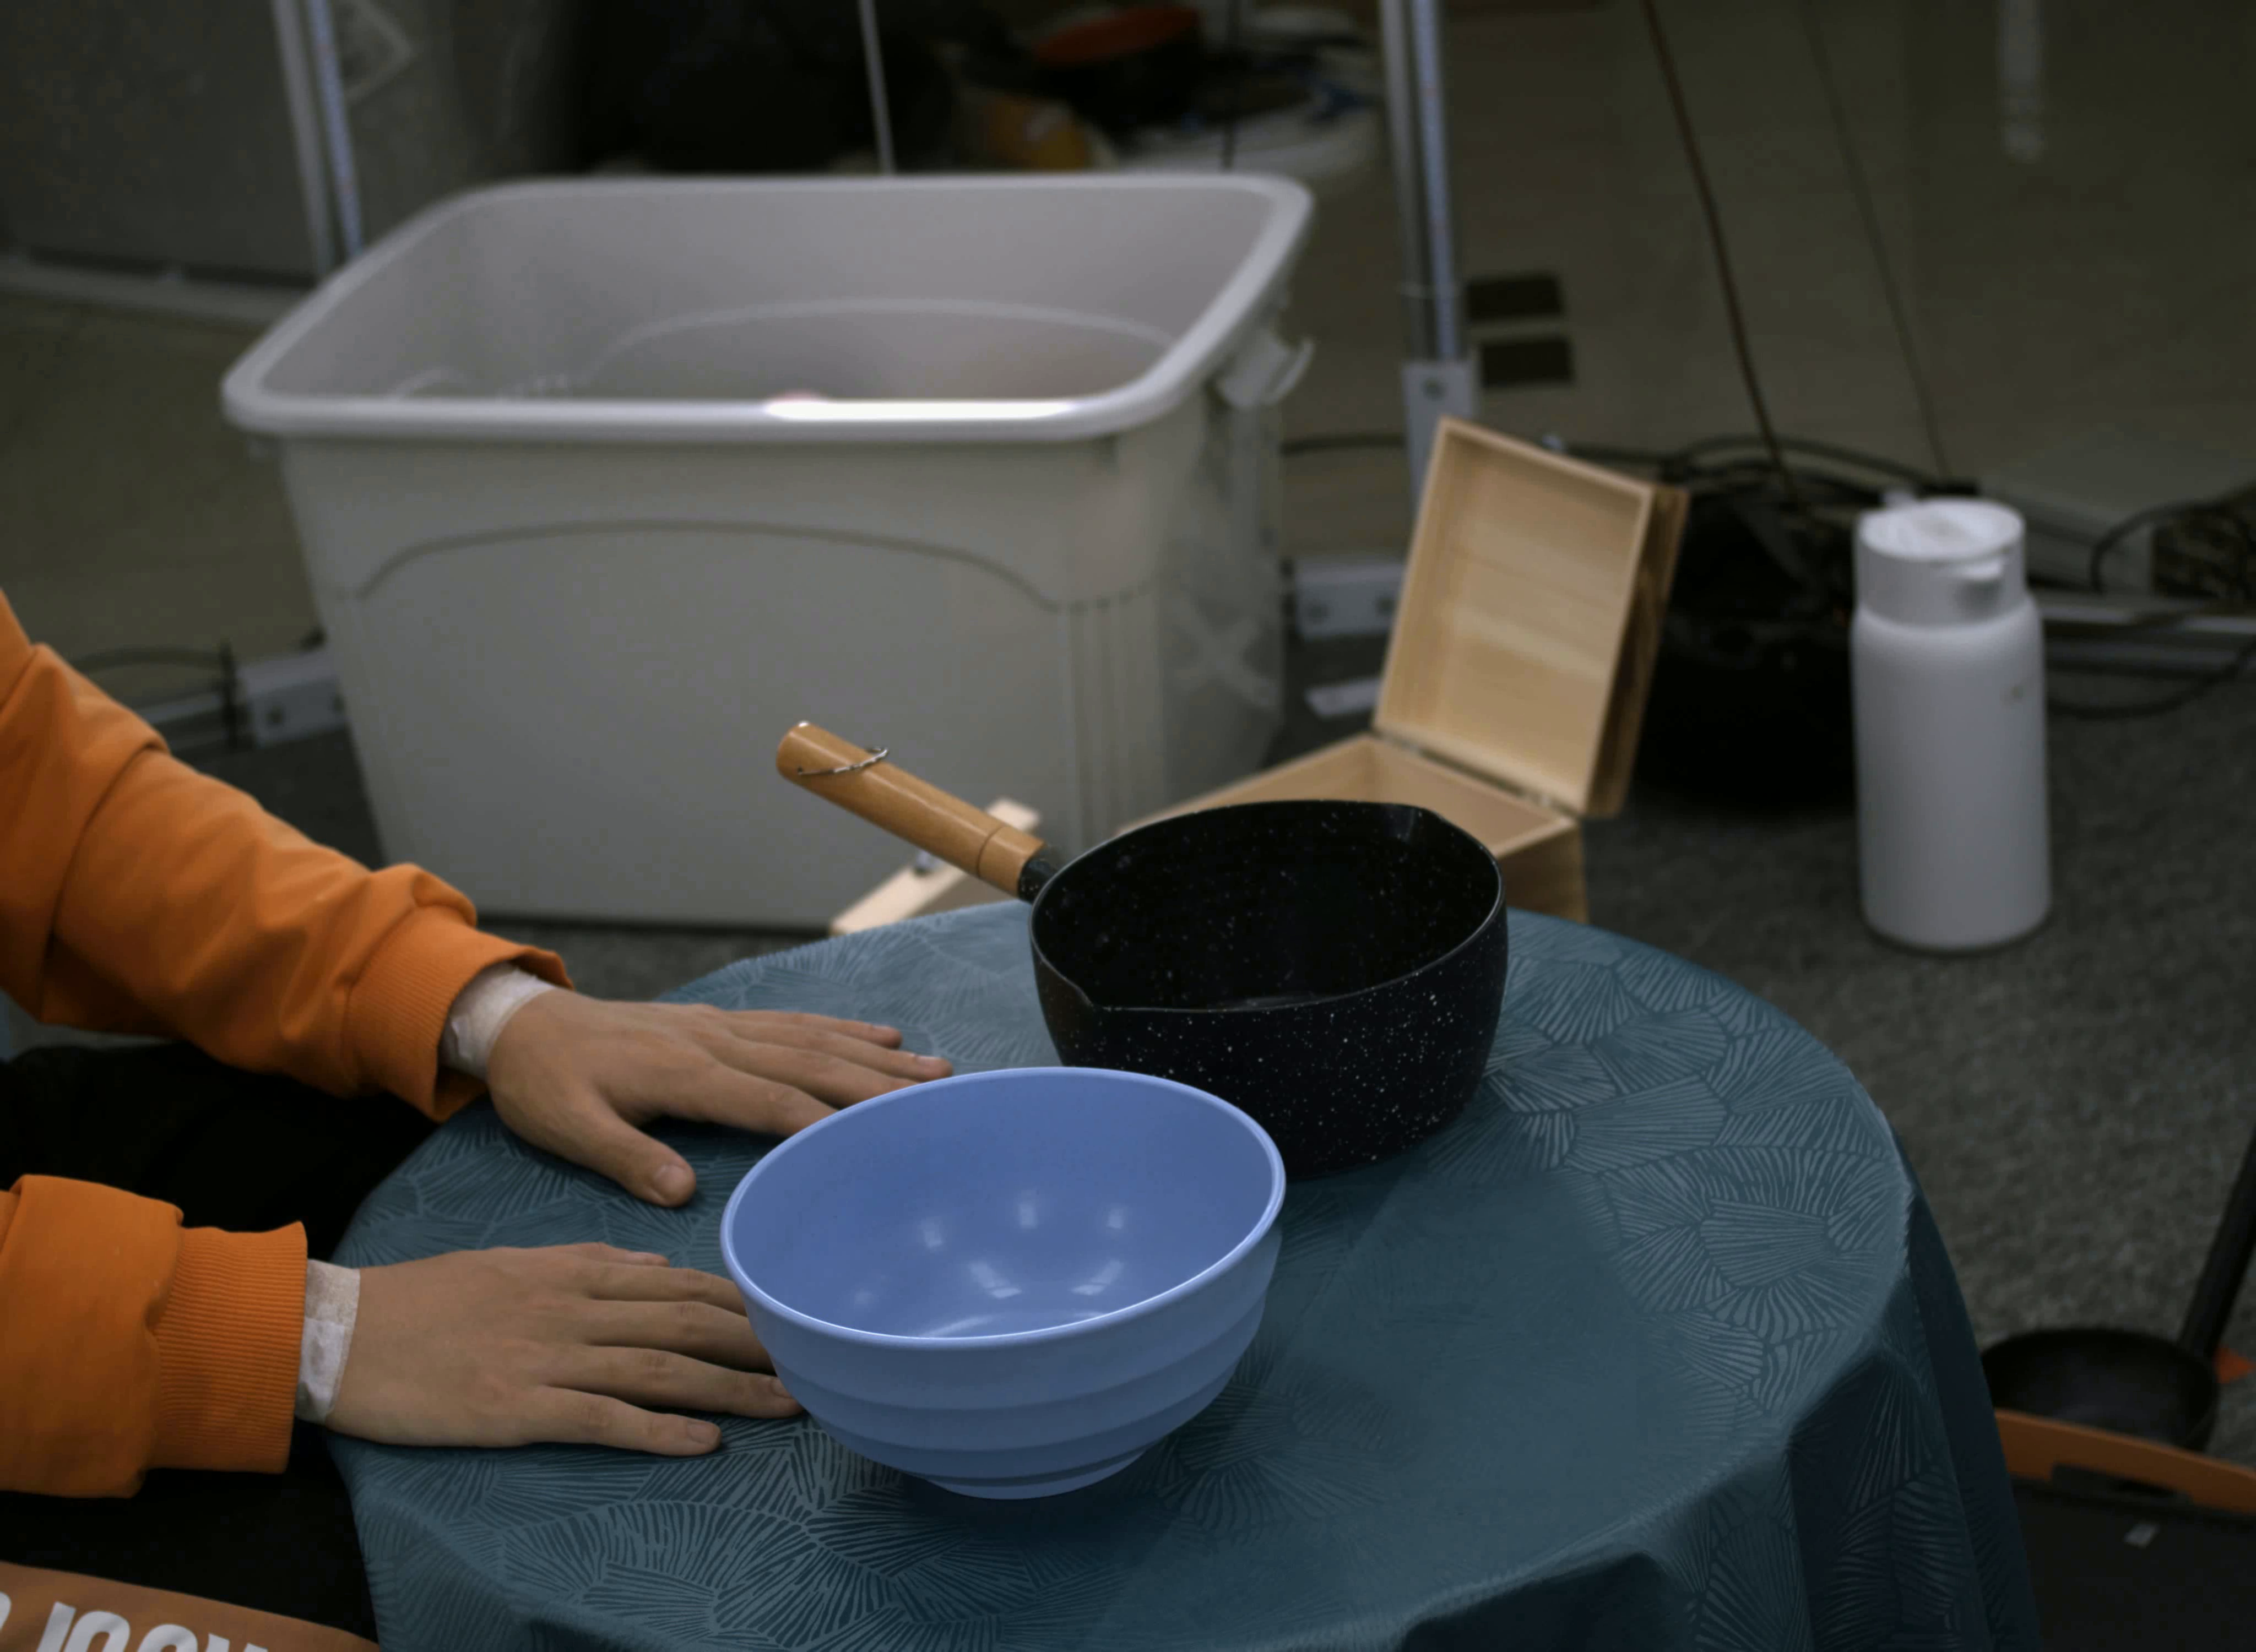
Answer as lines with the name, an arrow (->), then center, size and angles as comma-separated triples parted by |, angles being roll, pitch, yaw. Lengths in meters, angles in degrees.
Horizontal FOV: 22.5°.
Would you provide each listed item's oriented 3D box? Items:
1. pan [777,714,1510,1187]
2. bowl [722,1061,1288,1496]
pan -> -0.005, 0.040, 2.229 | 0.340, 0.110, 0.205 | 15, 34, 36
bowl -> -0.039, 0.169, 1.975 | 0.196, 0.097, 0.193 | -4, 26, 2
